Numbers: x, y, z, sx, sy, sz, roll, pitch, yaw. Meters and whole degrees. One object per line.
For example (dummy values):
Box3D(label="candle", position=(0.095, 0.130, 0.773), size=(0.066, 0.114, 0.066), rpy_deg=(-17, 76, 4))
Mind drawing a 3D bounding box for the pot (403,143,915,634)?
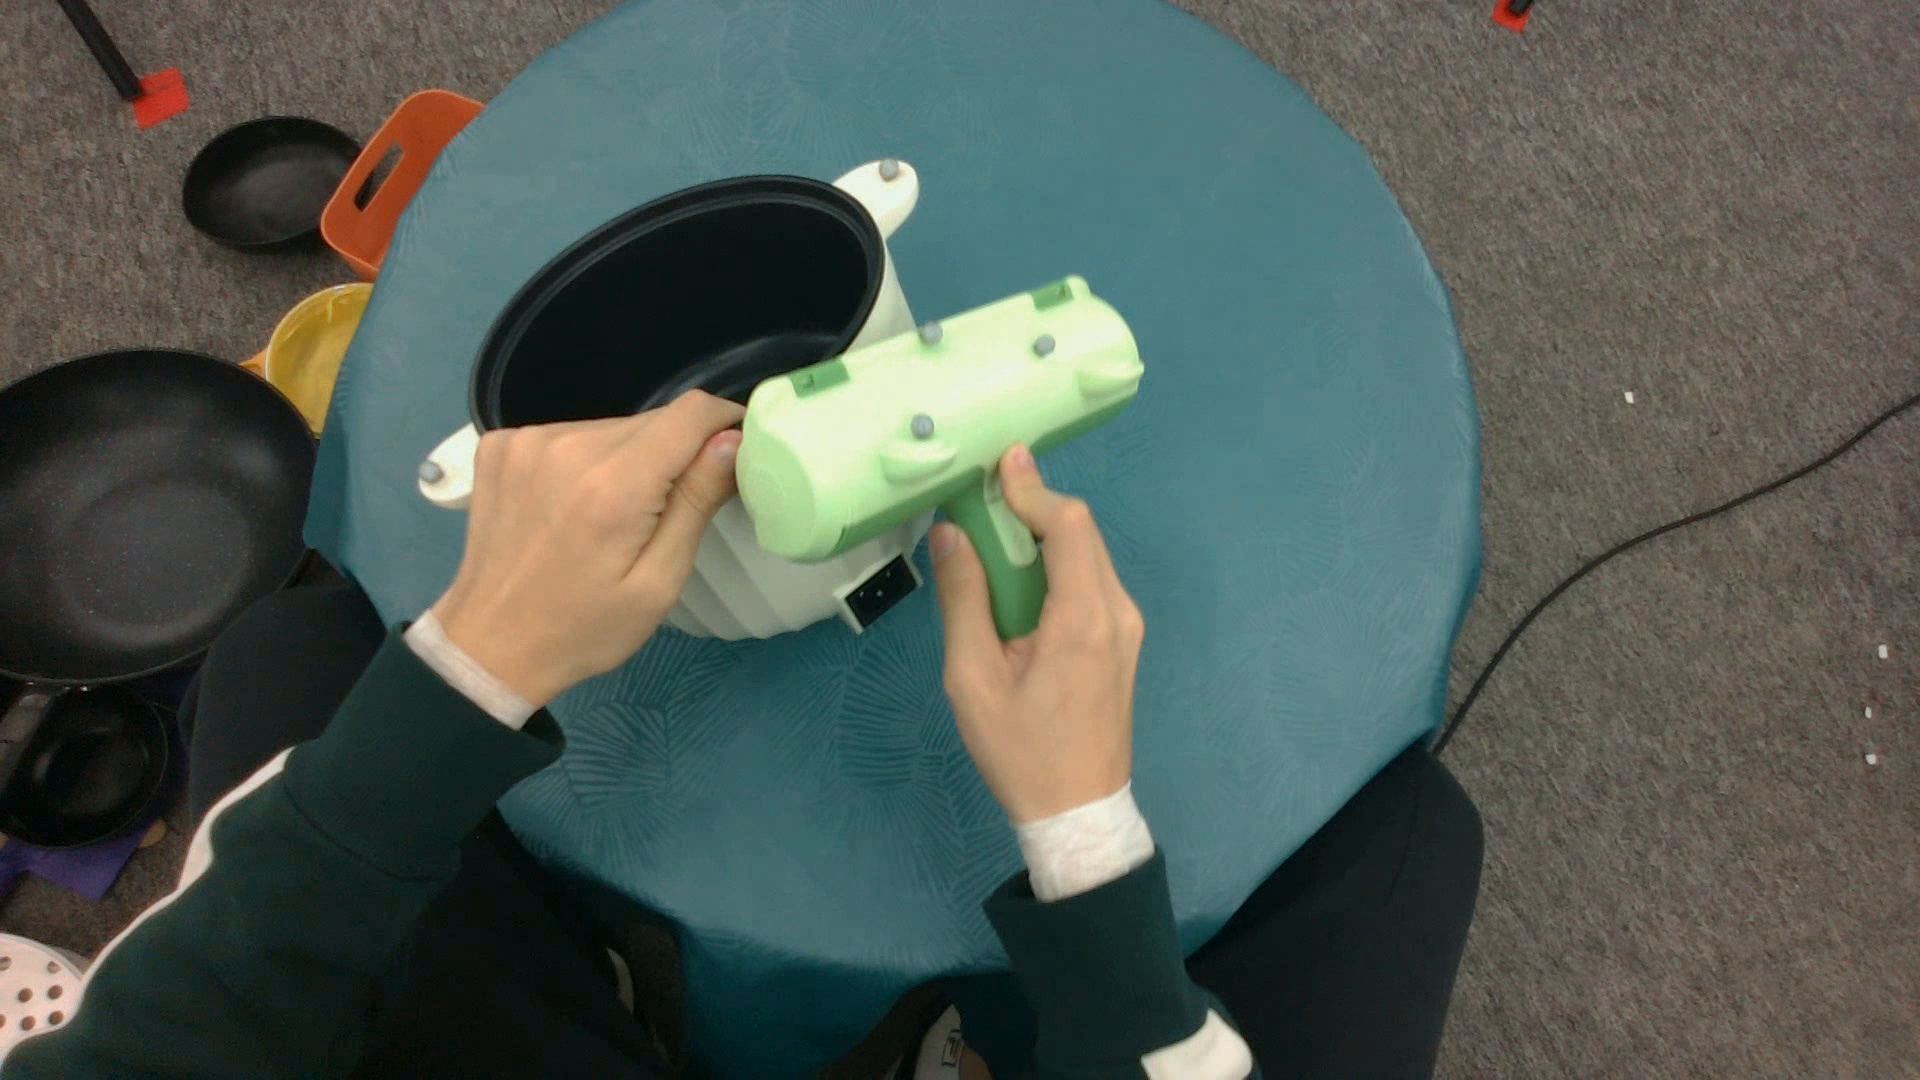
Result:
Box3D(label="pot", position=(-0.112, -0.057, 0.610), size=(0.241, 0.142, 0.190), rpy_deg=(-40, 51, -15))

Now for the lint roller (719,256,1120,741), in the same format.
Box3D(label="lint roller", position=(0.019, -0.008, 0.540), size=(0.199, 0.082, 0.183), rpy_deg=(-30, 96, -45))
